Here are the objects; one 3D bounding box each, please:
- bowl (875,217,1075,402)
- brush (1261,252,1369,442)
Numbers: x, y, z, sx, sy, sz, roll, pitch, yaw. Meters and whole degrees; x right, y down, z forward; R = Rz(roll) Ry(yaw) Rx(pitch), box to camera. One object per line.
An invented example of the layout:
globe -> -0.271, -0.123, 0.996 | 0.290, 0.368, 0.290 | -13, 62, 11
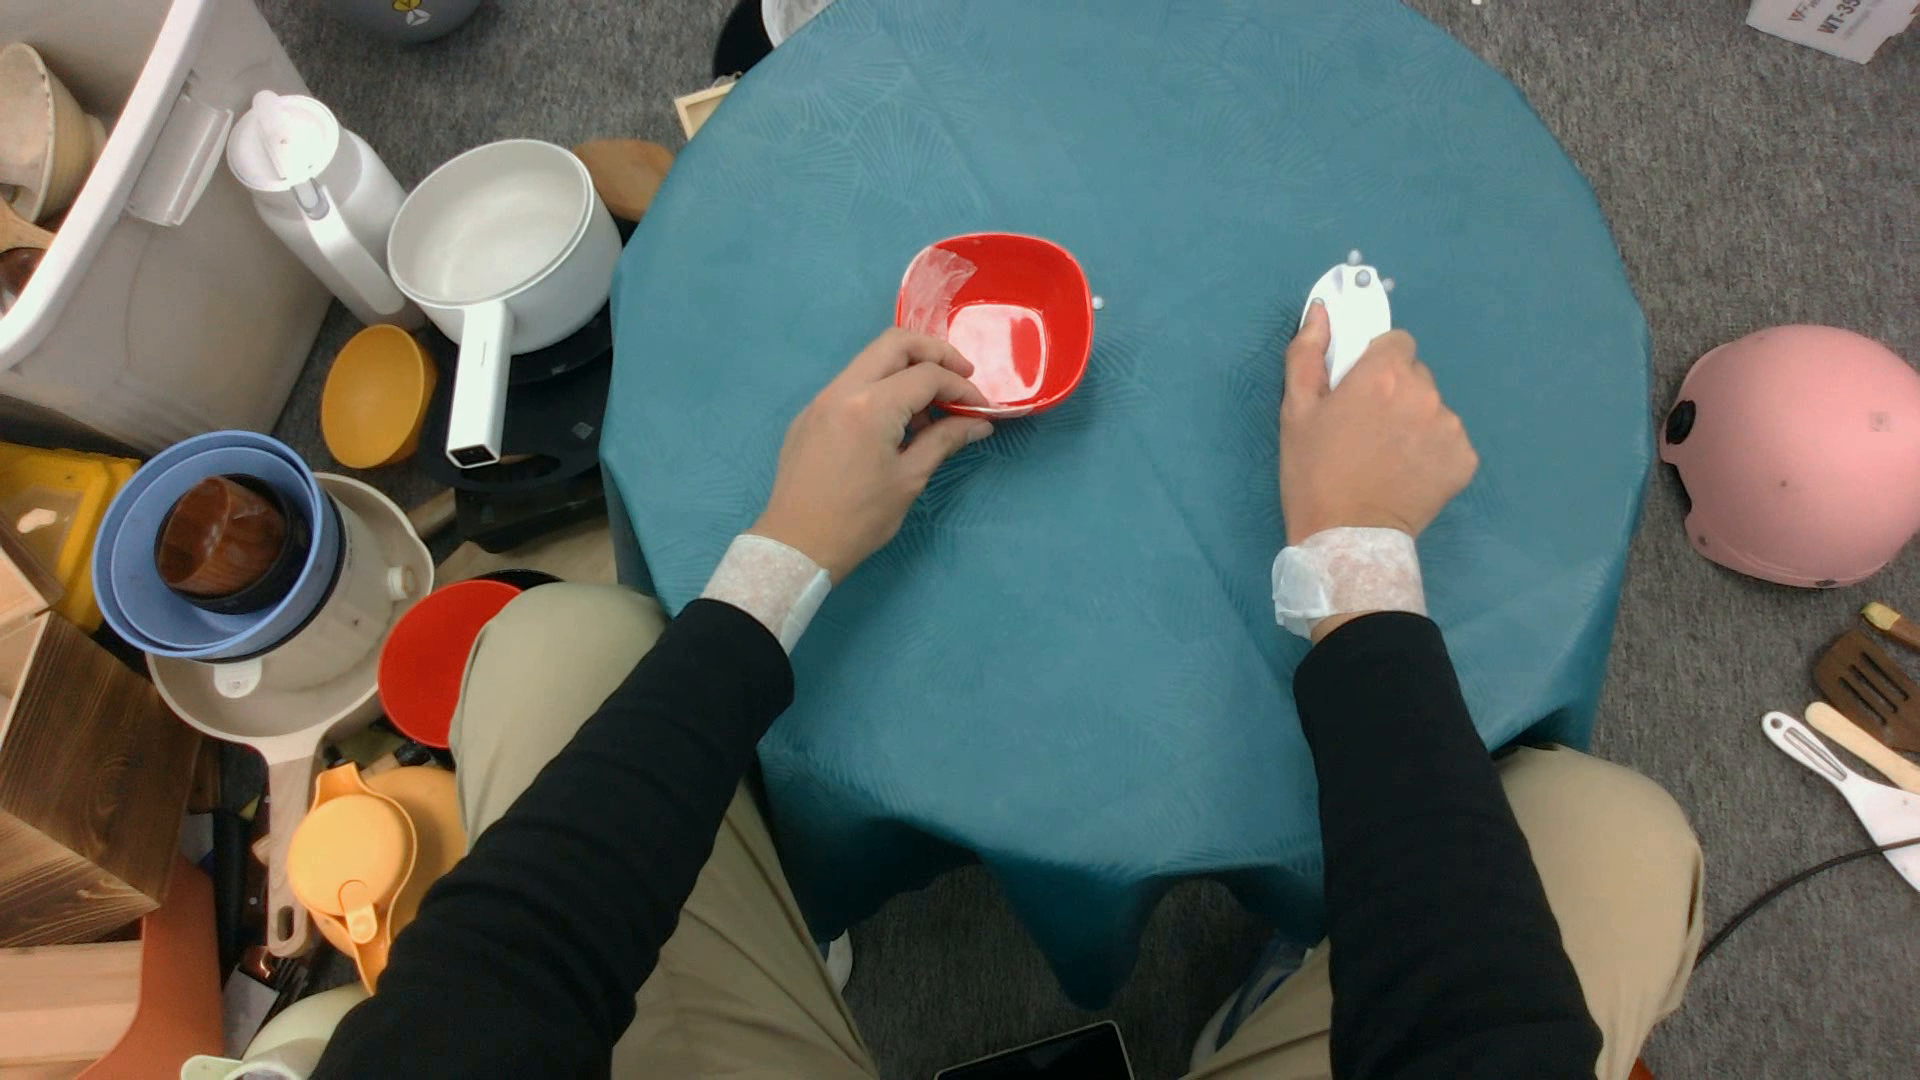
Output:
bowl -> 0.008, -0.122, 0.777 | 0.119, 0.051, 0.119 | 0, 70, -1
brush -> 0.201, -0.113, 0.761 | 0.050, 0.072, 0.099 | 13, 74, 4
